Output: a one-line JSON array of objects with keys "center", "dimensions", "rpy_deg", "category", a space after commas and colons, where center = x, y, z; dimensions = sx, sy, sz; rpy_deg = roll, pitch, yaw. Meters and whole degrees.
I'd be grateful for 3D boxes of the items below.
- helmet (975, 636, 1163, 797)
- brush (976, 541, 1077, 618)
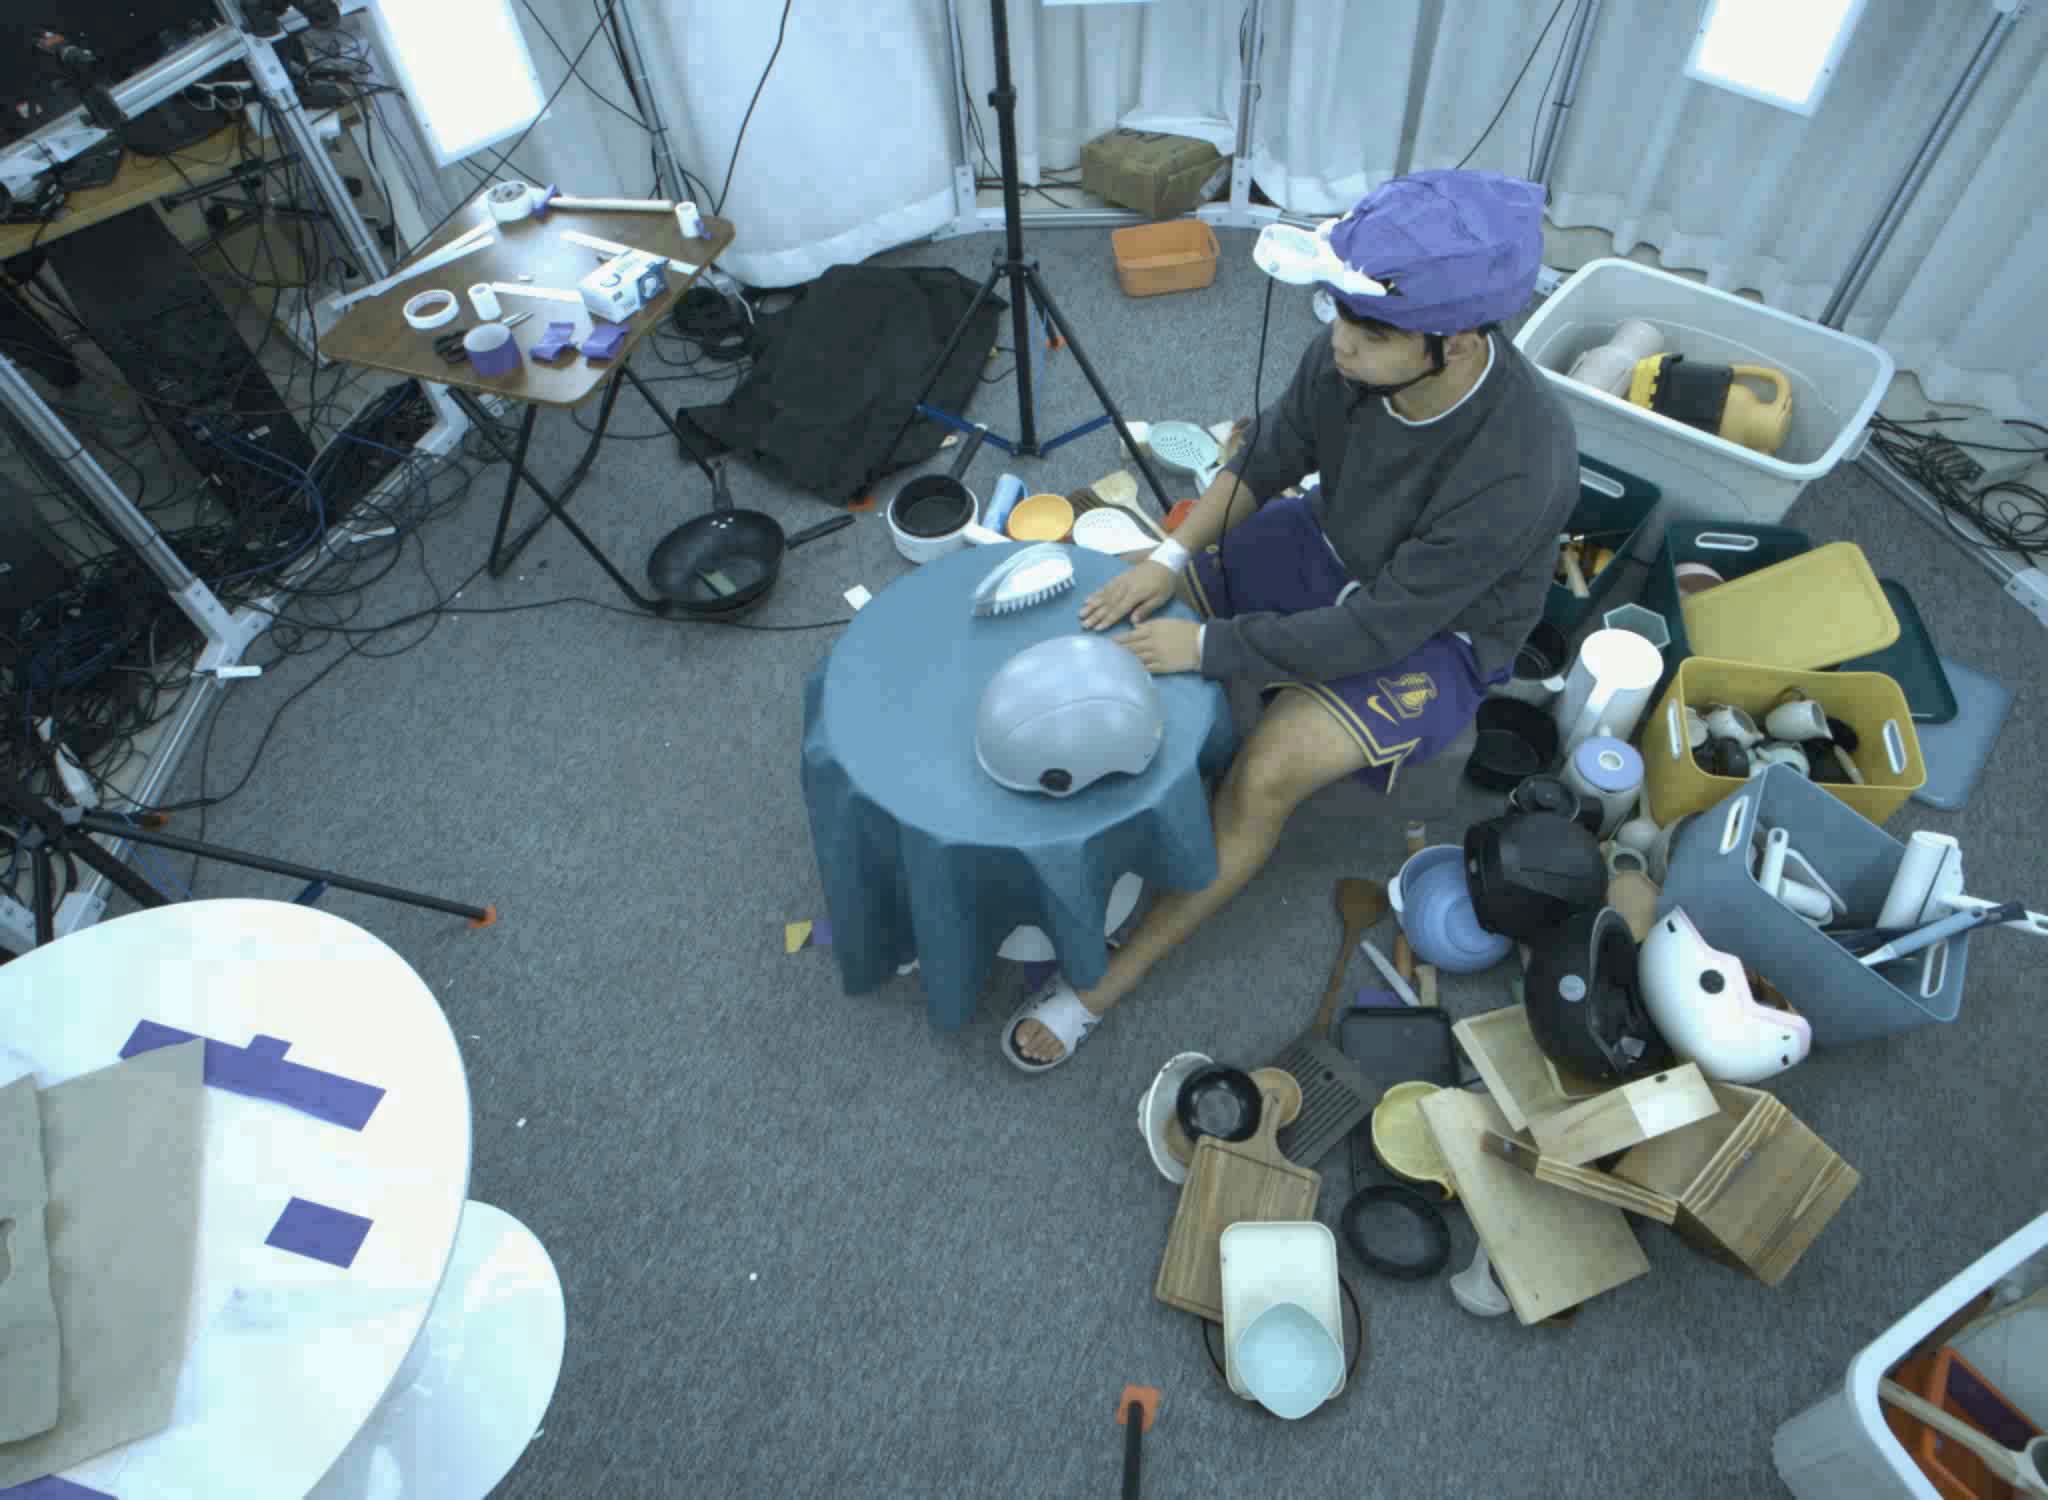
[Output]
[{"center": [0.057, -0.067, 1.735], "dimensions": [0.277, 0.171, 0.229], "rpy_deg": [-10, 54, -2], "category": "helmet"}, {"center": [-0.004, -0.272, 1.928], "dimensions": [0.176, 0.095, 0.060], "rpy_deg": [-26, 56, -12], "category": "brush"}]
